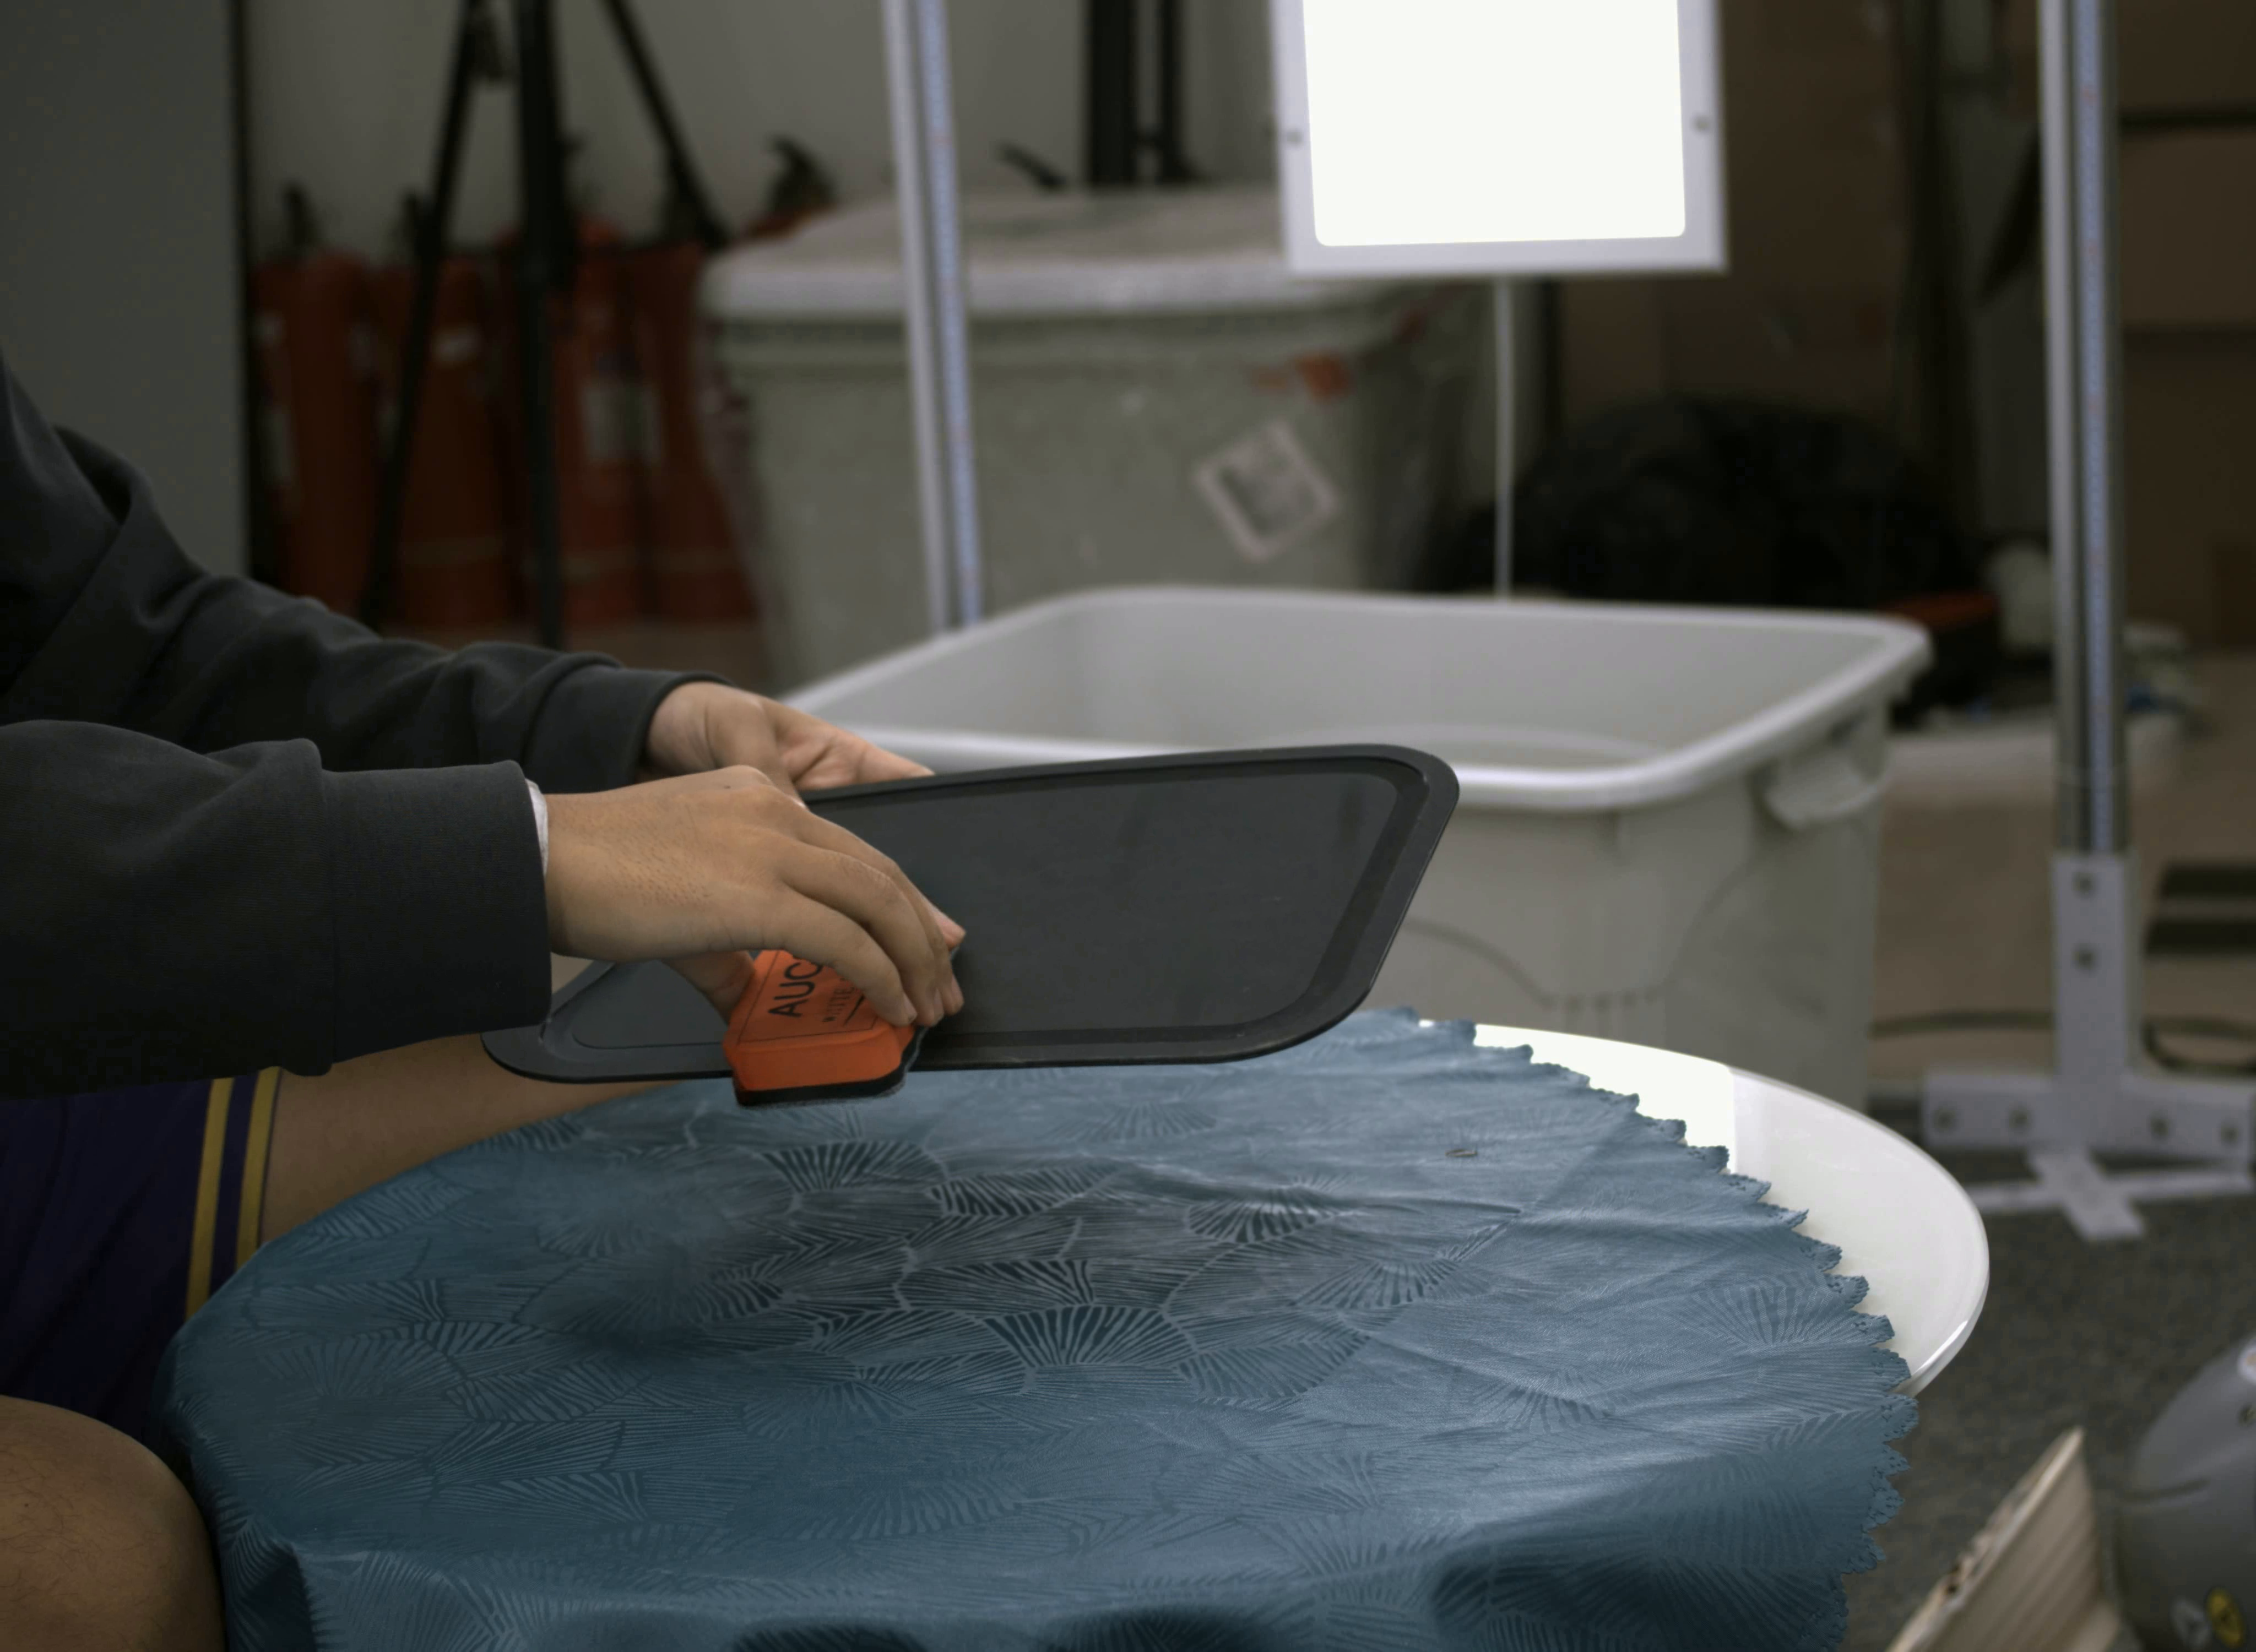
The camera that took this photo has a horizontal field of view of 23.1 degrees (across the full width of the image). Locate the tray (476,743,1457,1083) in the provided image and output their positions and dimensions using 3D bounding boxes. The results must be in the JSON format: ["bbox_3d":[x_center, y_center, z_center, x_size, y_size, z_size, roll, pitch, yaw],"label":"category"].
[{"bbox_3d":[-0.060,0.027,1.840,0.330,0.010,0.208,-3,28,22],"label":"tray"}]

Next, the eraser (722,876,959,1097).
[{"bbox_3d":[-0.091,0.051,1.775,0.059,0.023,0.107,-6,25,14],"label":"eraser"}]
